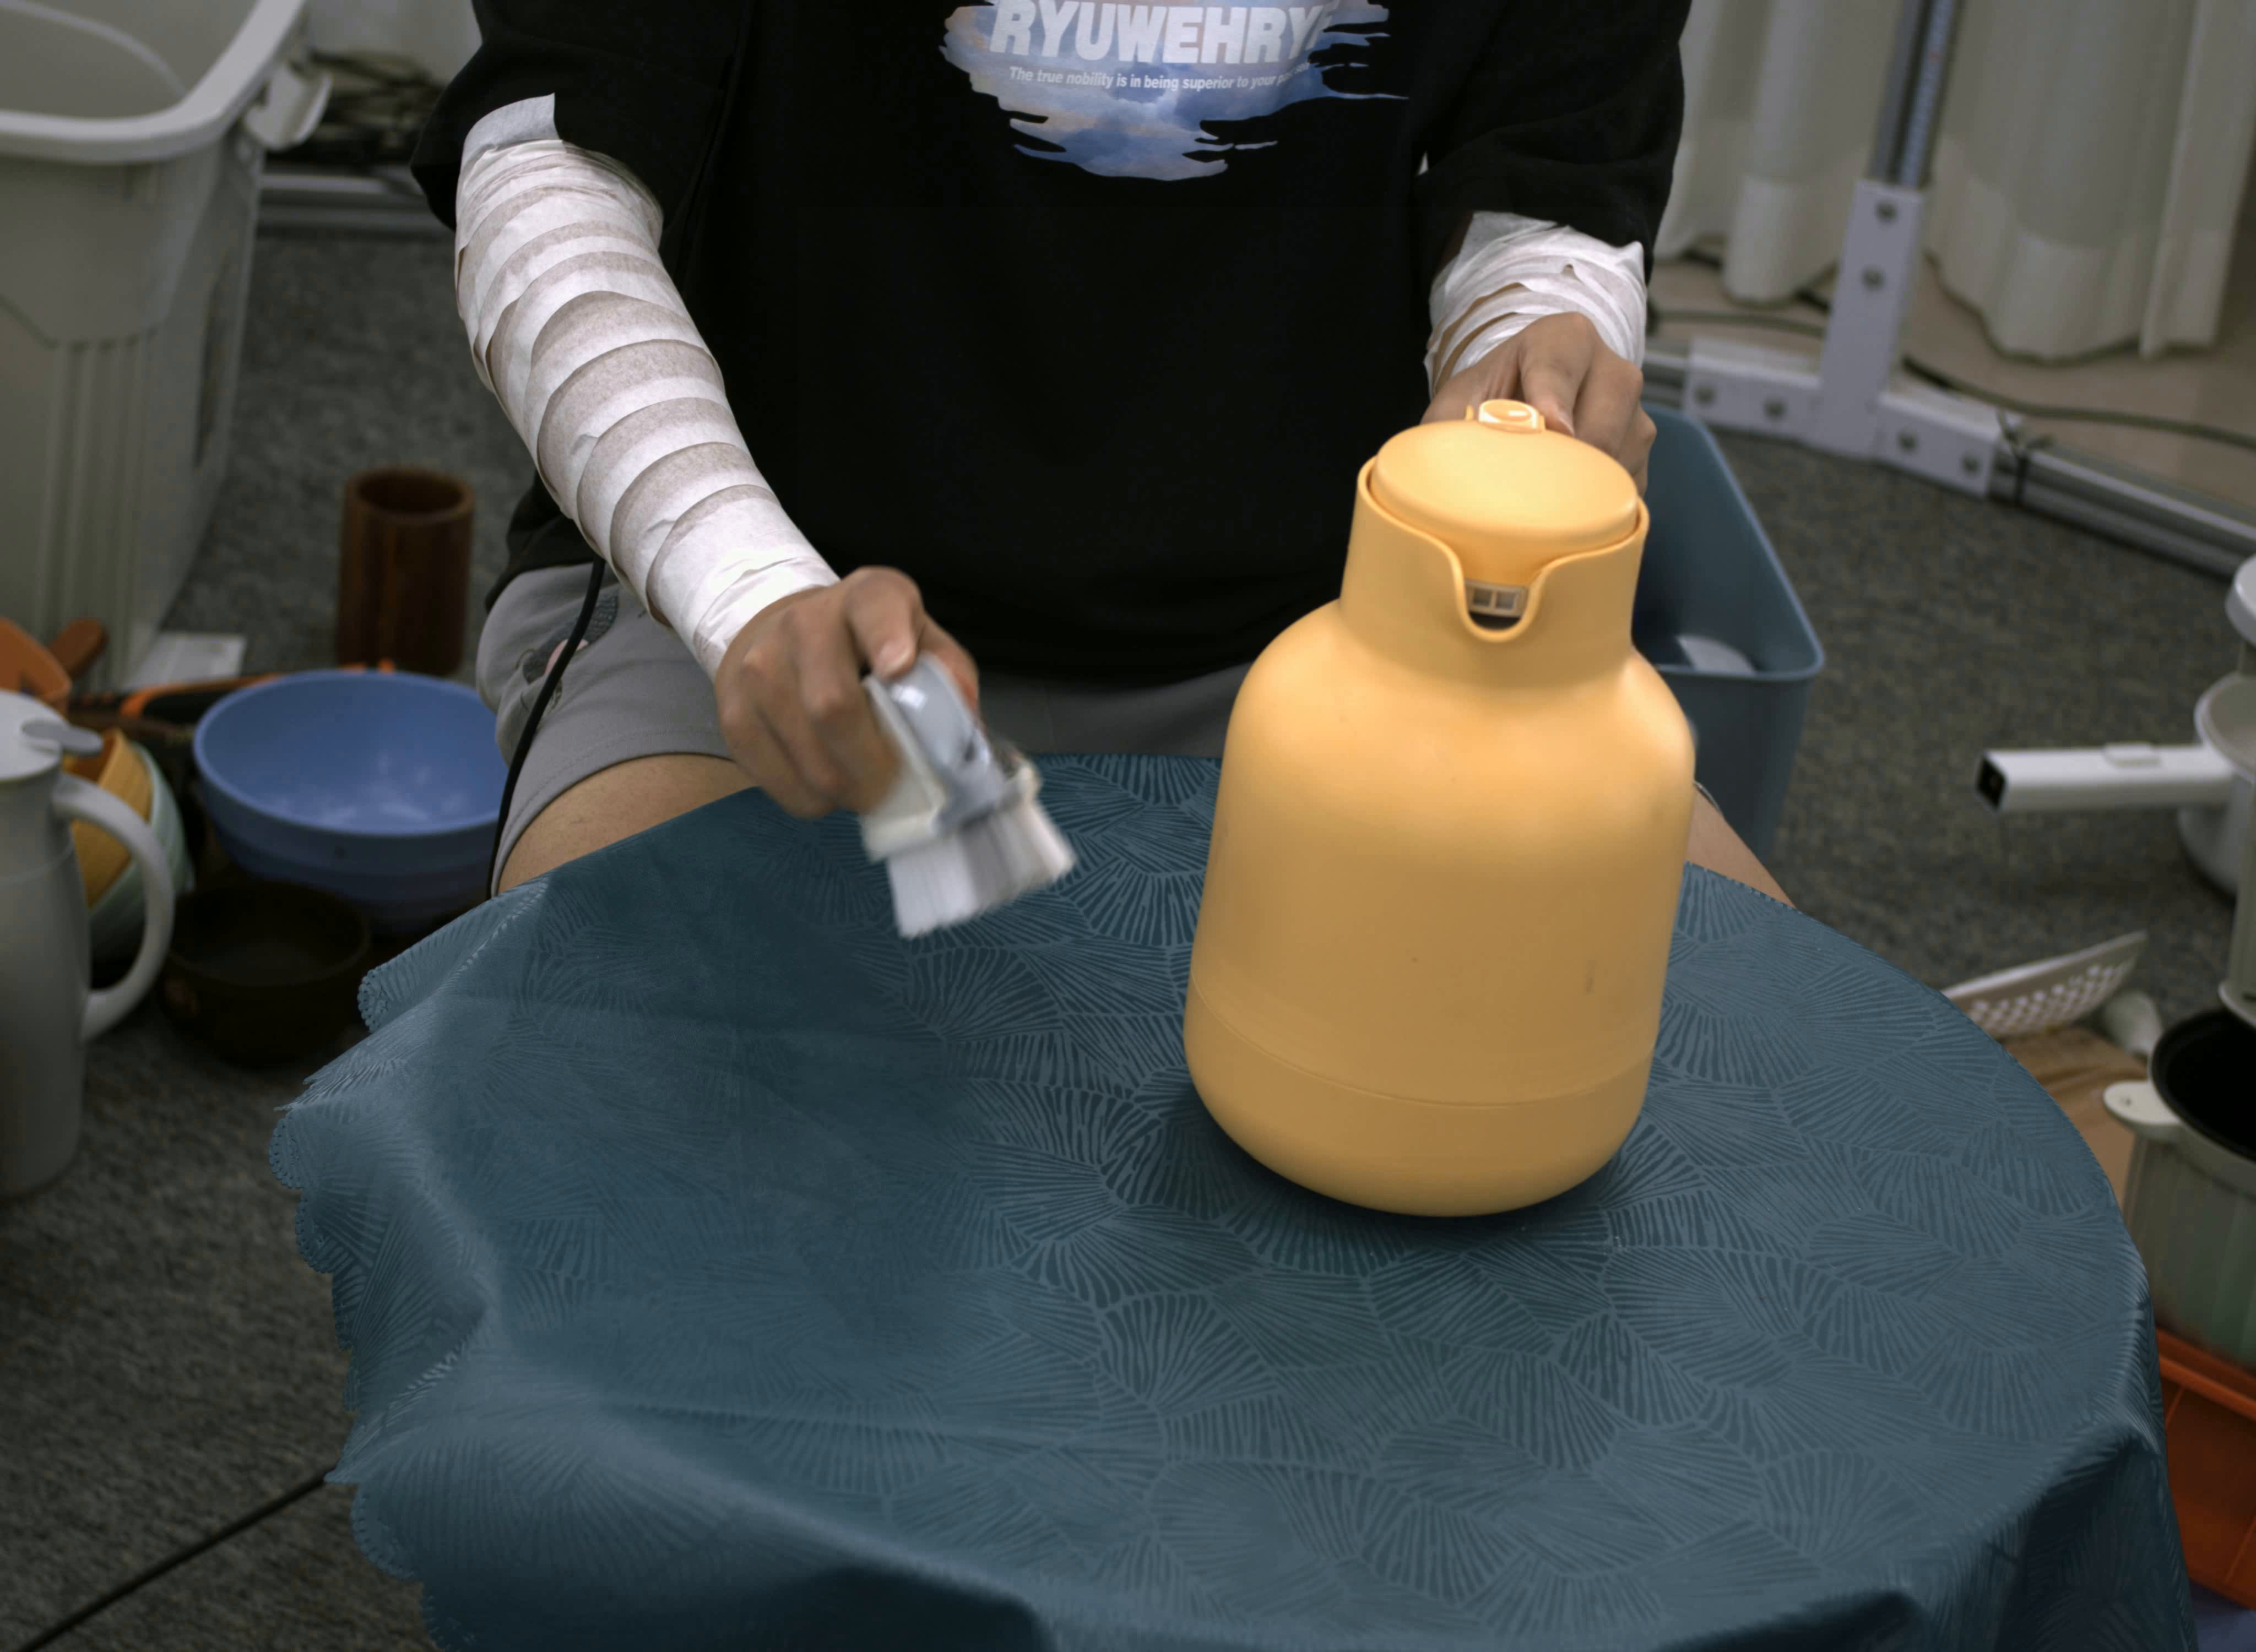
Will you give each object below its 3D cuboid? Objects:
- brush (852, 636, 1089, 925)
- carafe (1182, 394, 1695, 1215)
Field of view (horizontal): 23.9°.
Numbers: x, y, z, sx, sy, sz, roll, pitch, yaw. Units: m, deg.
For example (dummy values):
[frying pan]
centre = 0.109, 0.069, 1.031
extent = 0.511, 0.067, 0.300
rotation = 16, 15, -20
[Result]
[brush]
centre = -0.057, -0.022, 1.790
extent = 0.061, 0.094, 0.176
rotation = -29, 2, -9
[carafe]
centre = 0.114, -0.016, 1.820
extent = 0.163, 0.259, 0.203
rotation = 10, 28, 3
